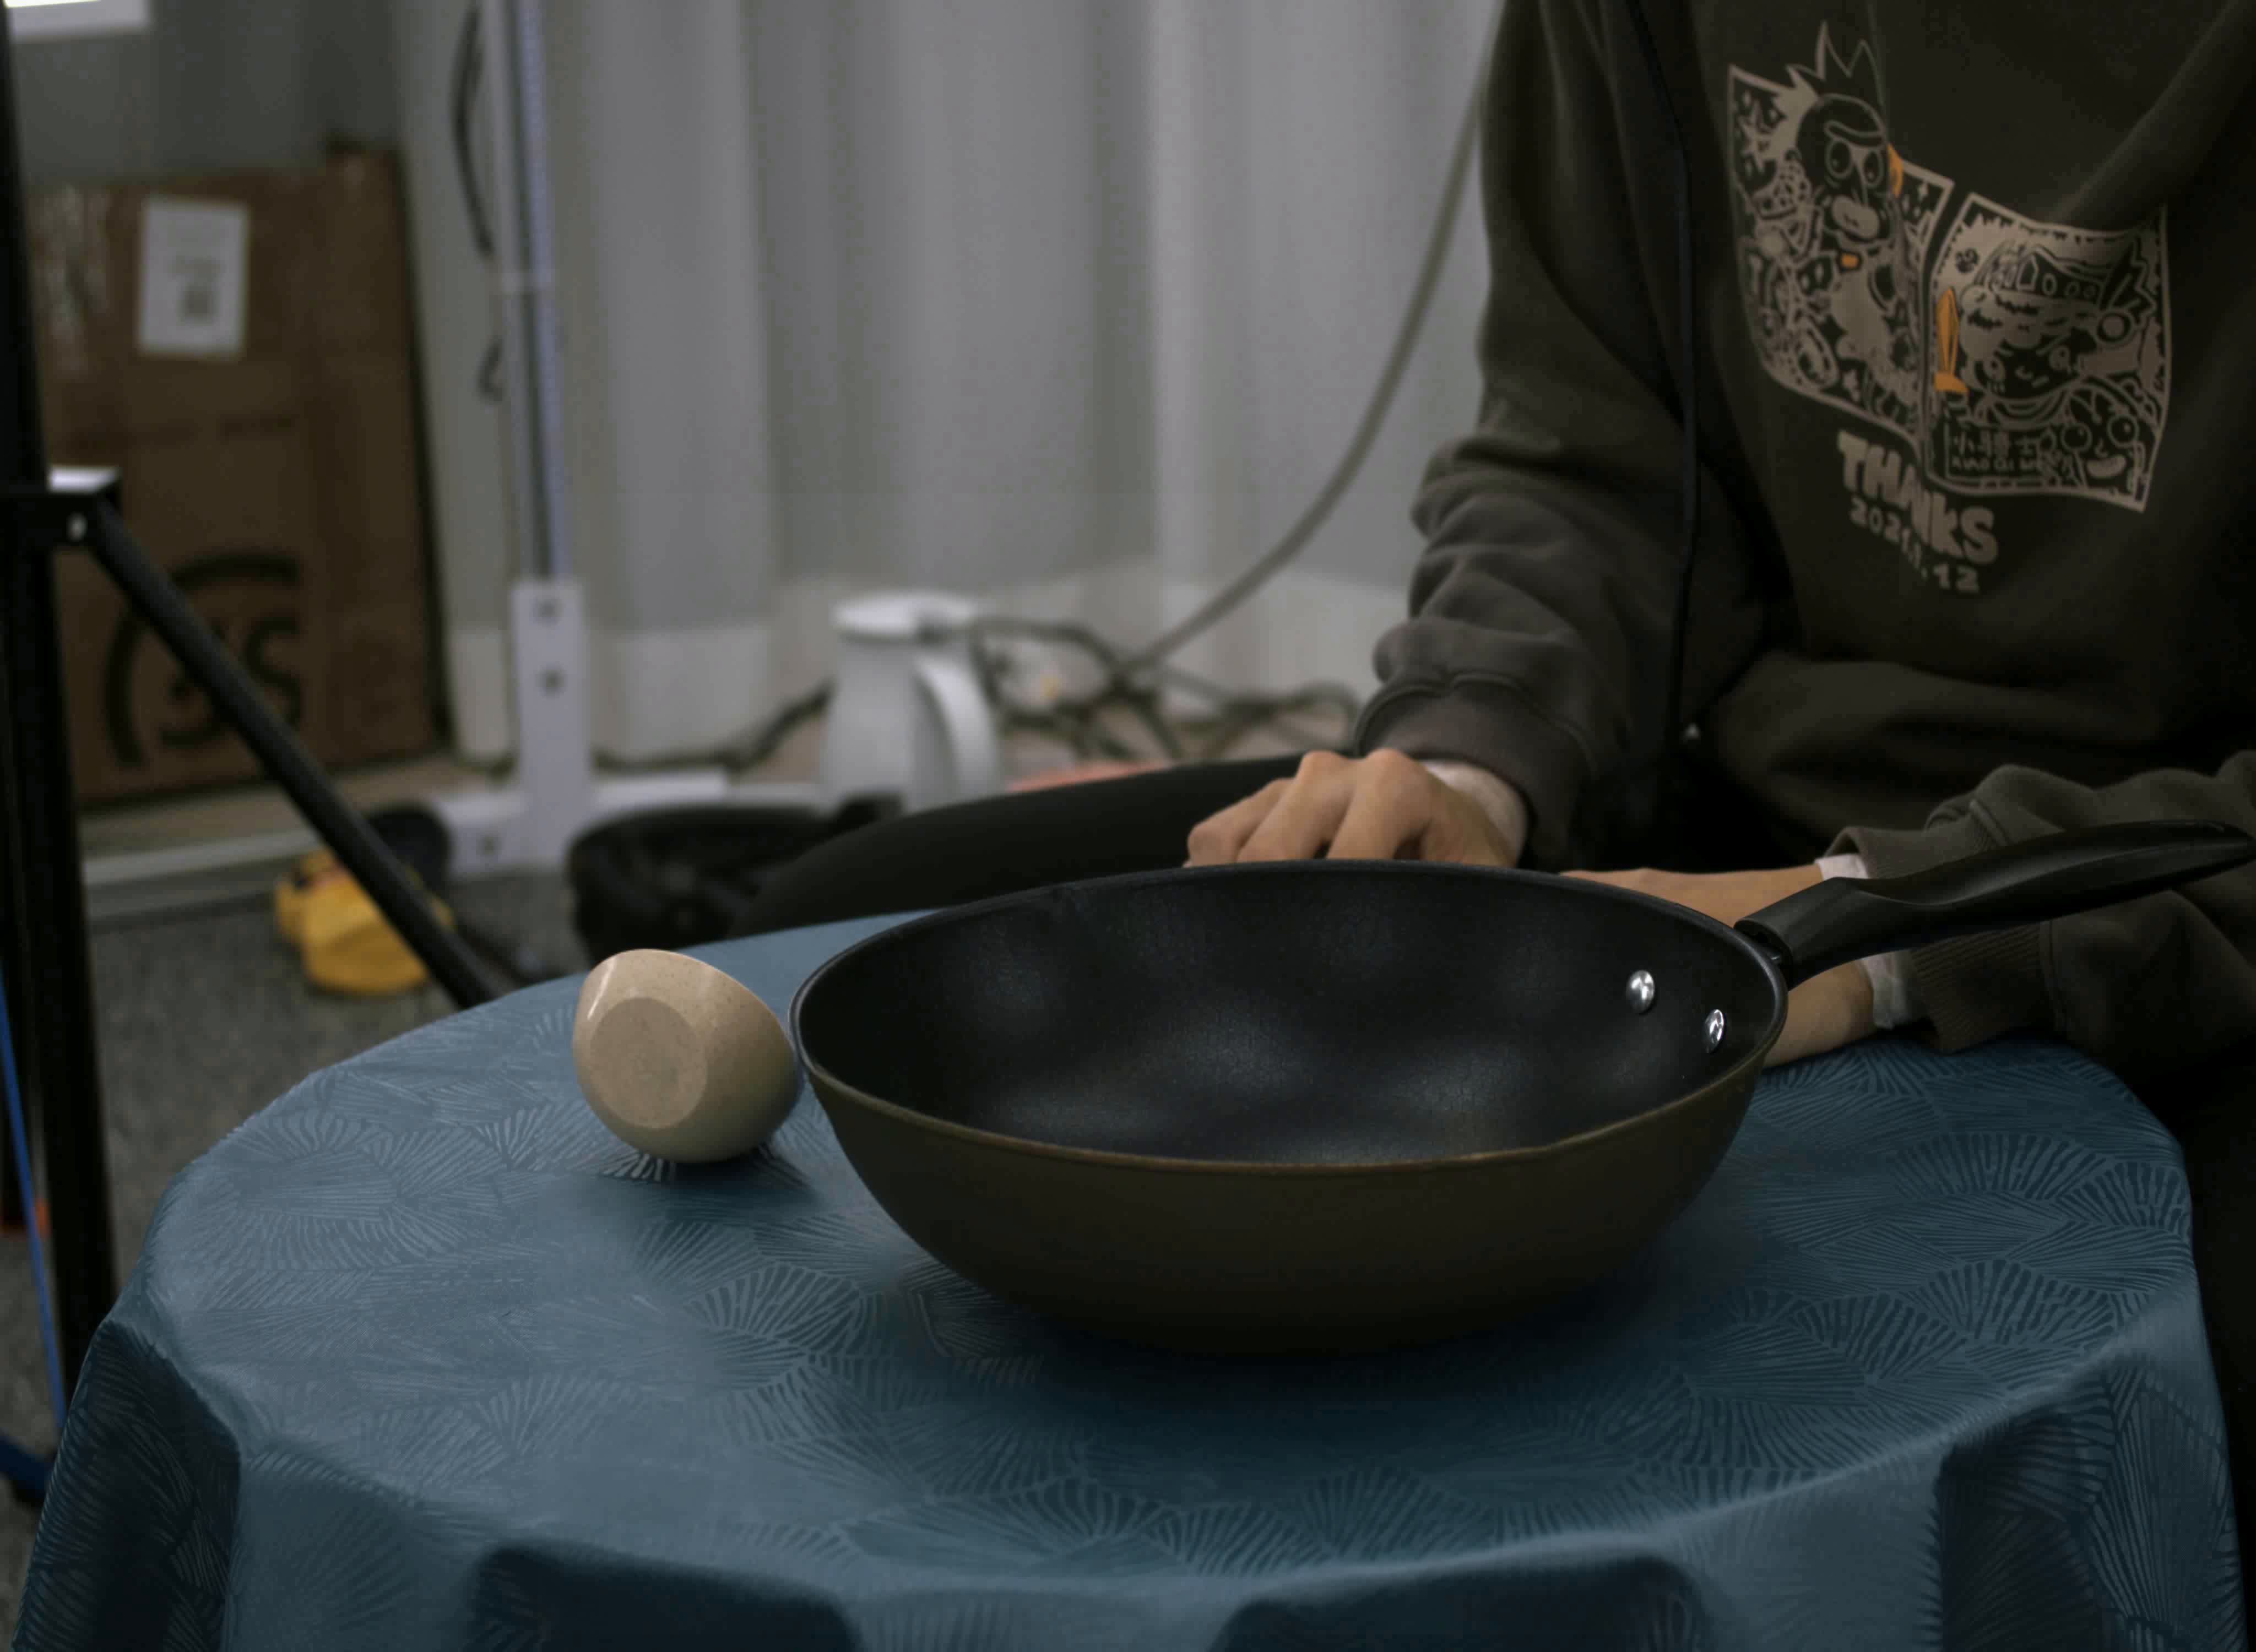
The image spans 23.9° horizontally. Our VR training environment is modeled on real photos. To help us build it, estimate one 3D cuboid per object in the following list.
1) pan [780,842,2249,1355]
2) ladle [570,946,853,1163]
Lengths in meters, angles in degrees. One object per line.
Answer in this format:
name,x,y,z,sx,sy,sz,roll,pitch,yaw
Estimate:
pan,0.125,0.071,1.520,0.454,0.087,0.294,-8,16,-23
ladle,-0.101,0.040,1.689,0.073,0.073,0.251,-2,15,21
